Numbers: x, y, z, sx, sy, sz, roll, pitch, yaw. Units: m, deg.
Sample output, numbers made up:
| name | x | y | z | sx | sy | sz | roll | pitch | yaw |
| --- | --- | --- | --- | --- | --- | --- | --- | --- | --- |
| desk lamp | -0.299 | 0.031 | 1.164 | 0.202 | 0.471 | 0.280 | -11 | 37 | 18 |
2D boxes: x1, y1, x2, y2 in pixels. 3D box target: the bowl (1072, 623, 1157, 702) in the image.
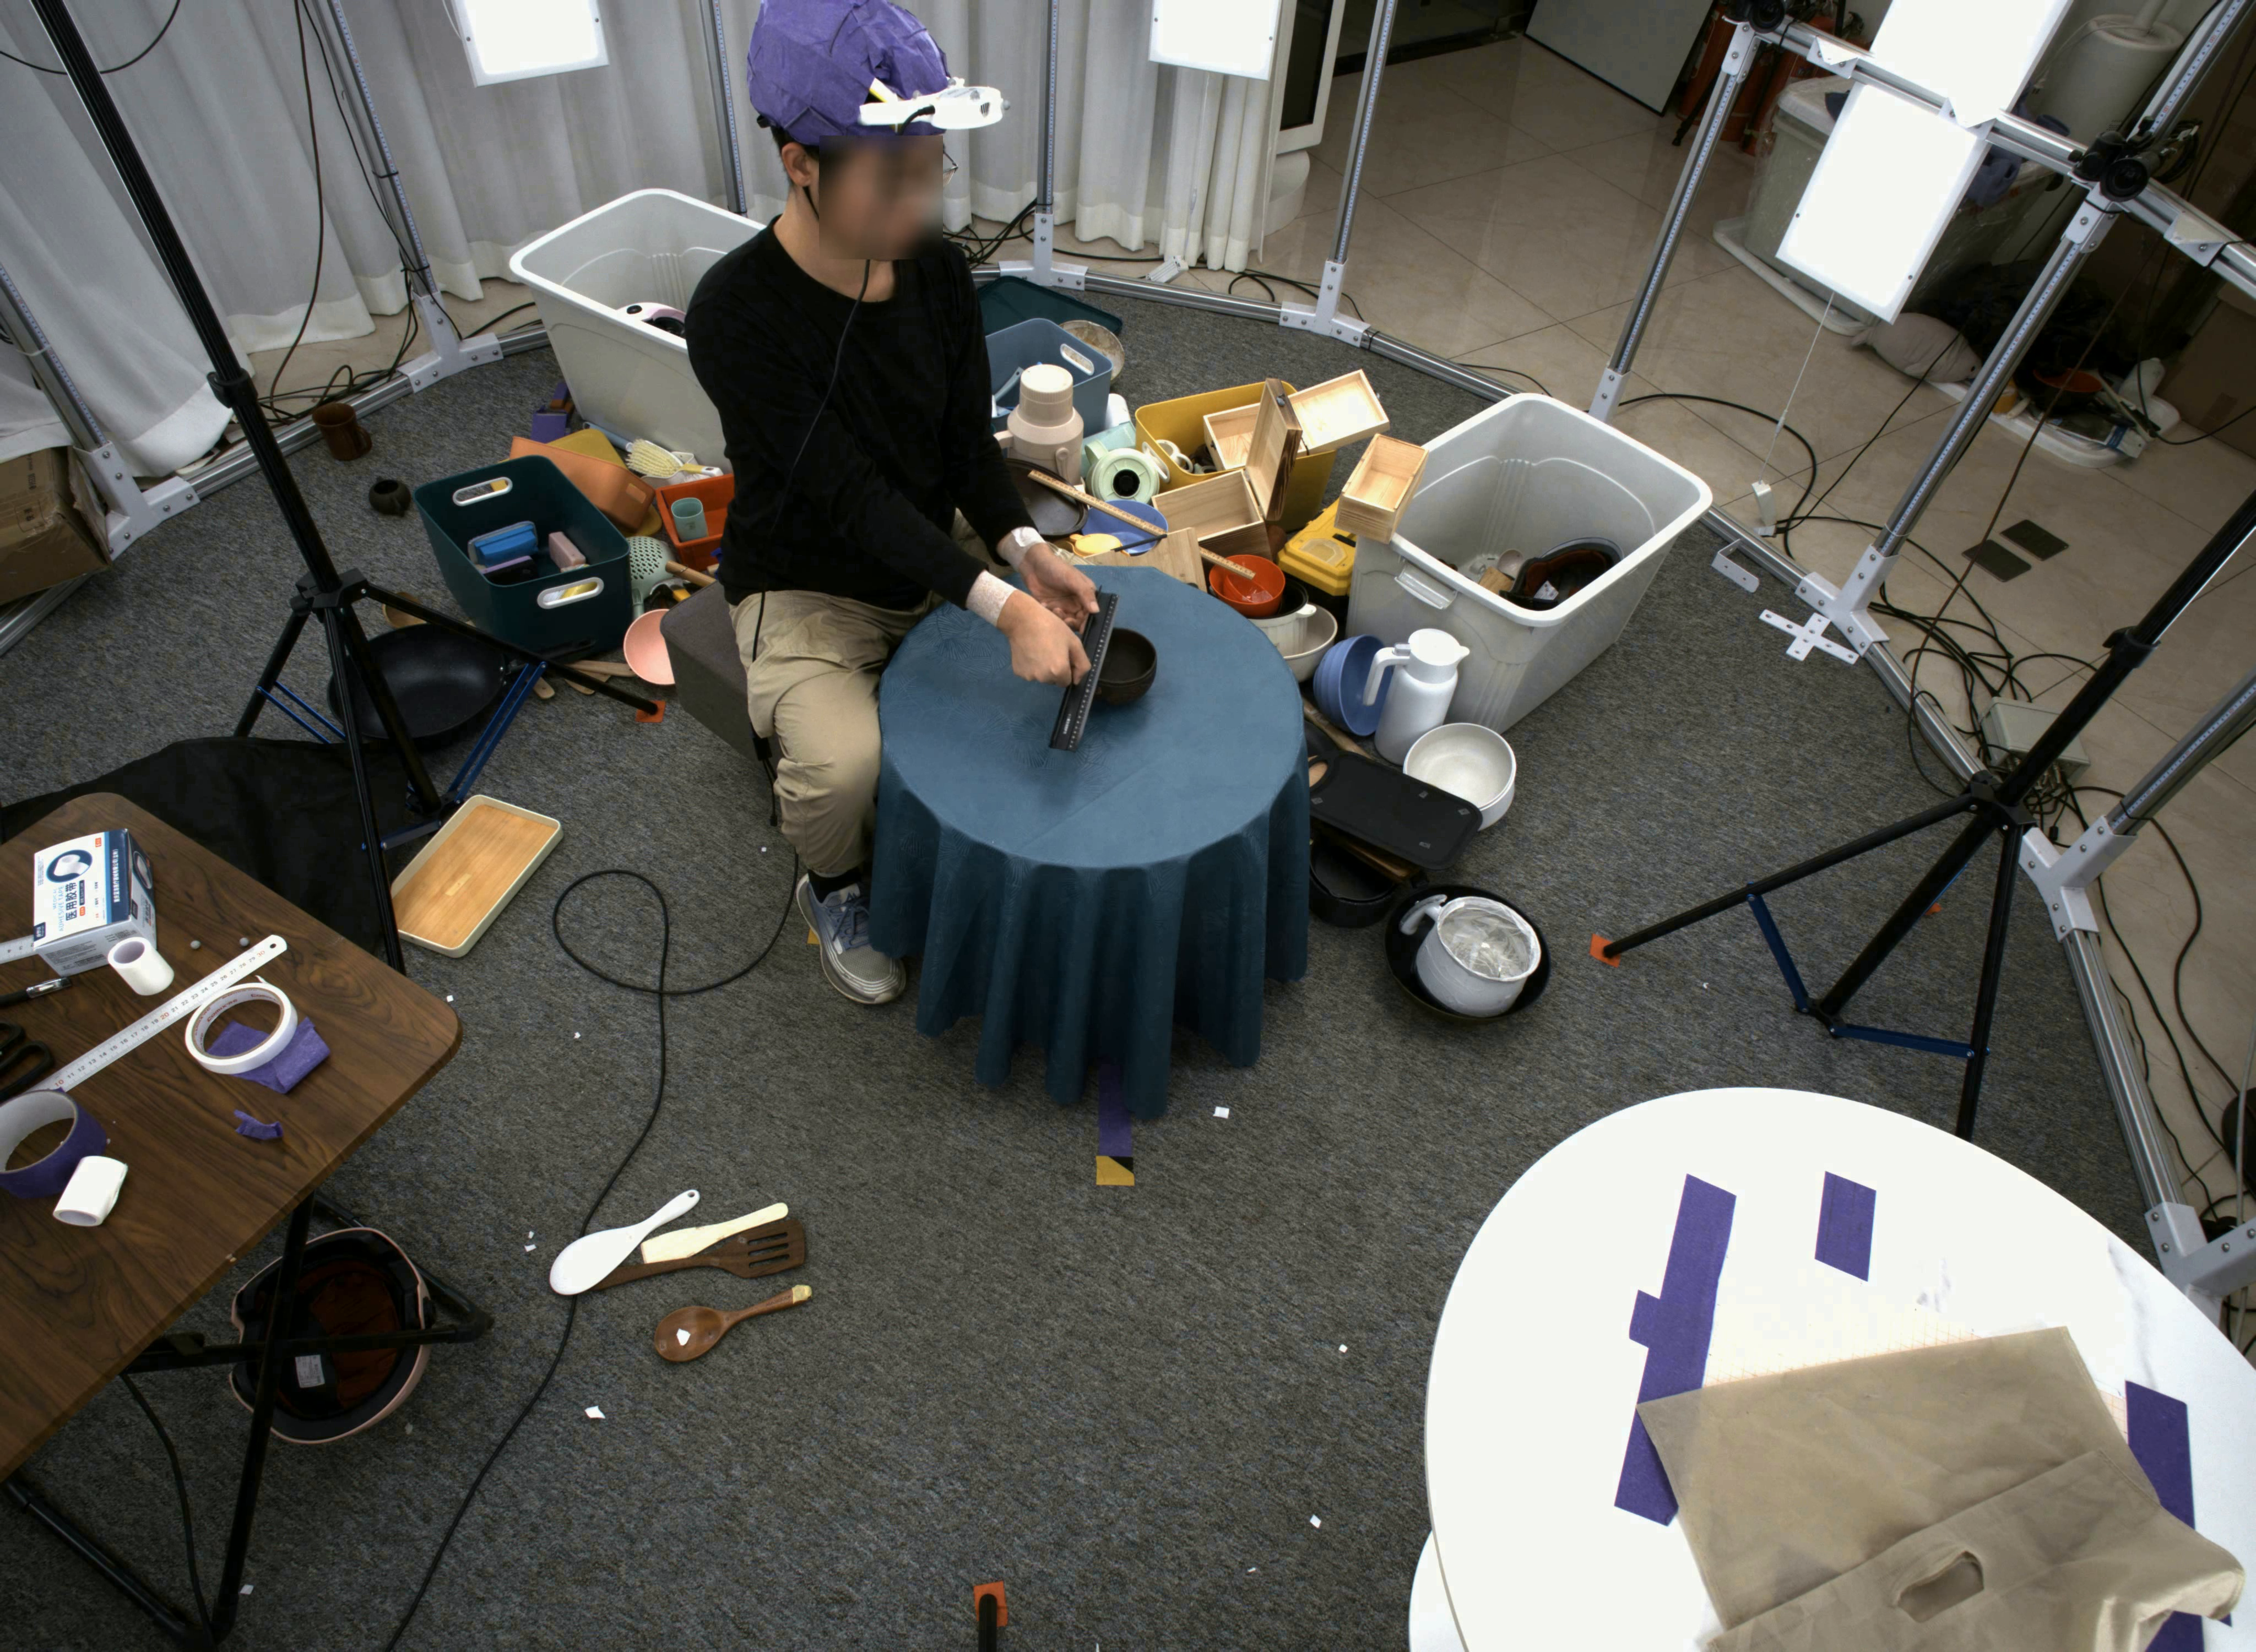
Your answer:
| name | x | y | z | sx | sy | sz | roll | pitch | yaw |
| --- | --- | --- | --- | --- | --- | --- | --- | --- | --- |
| bowl | -0.021 | -0.222 | 1.810 | 0.118 | 0.068 | 0.121 | 5 | 51 | -6 |

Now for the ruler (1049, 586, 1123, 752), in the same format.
| name | x | y | z | sx | sy | sz | roll | pitch | yaw |
| --- | --- | --- | --- | --- | --- | --- | --- | --- | --- |
| ruler | -0.055 | -0.221 | 1.760 | 0.039 | 0.017 | 0.319 | 12 | 50 | 3 |
